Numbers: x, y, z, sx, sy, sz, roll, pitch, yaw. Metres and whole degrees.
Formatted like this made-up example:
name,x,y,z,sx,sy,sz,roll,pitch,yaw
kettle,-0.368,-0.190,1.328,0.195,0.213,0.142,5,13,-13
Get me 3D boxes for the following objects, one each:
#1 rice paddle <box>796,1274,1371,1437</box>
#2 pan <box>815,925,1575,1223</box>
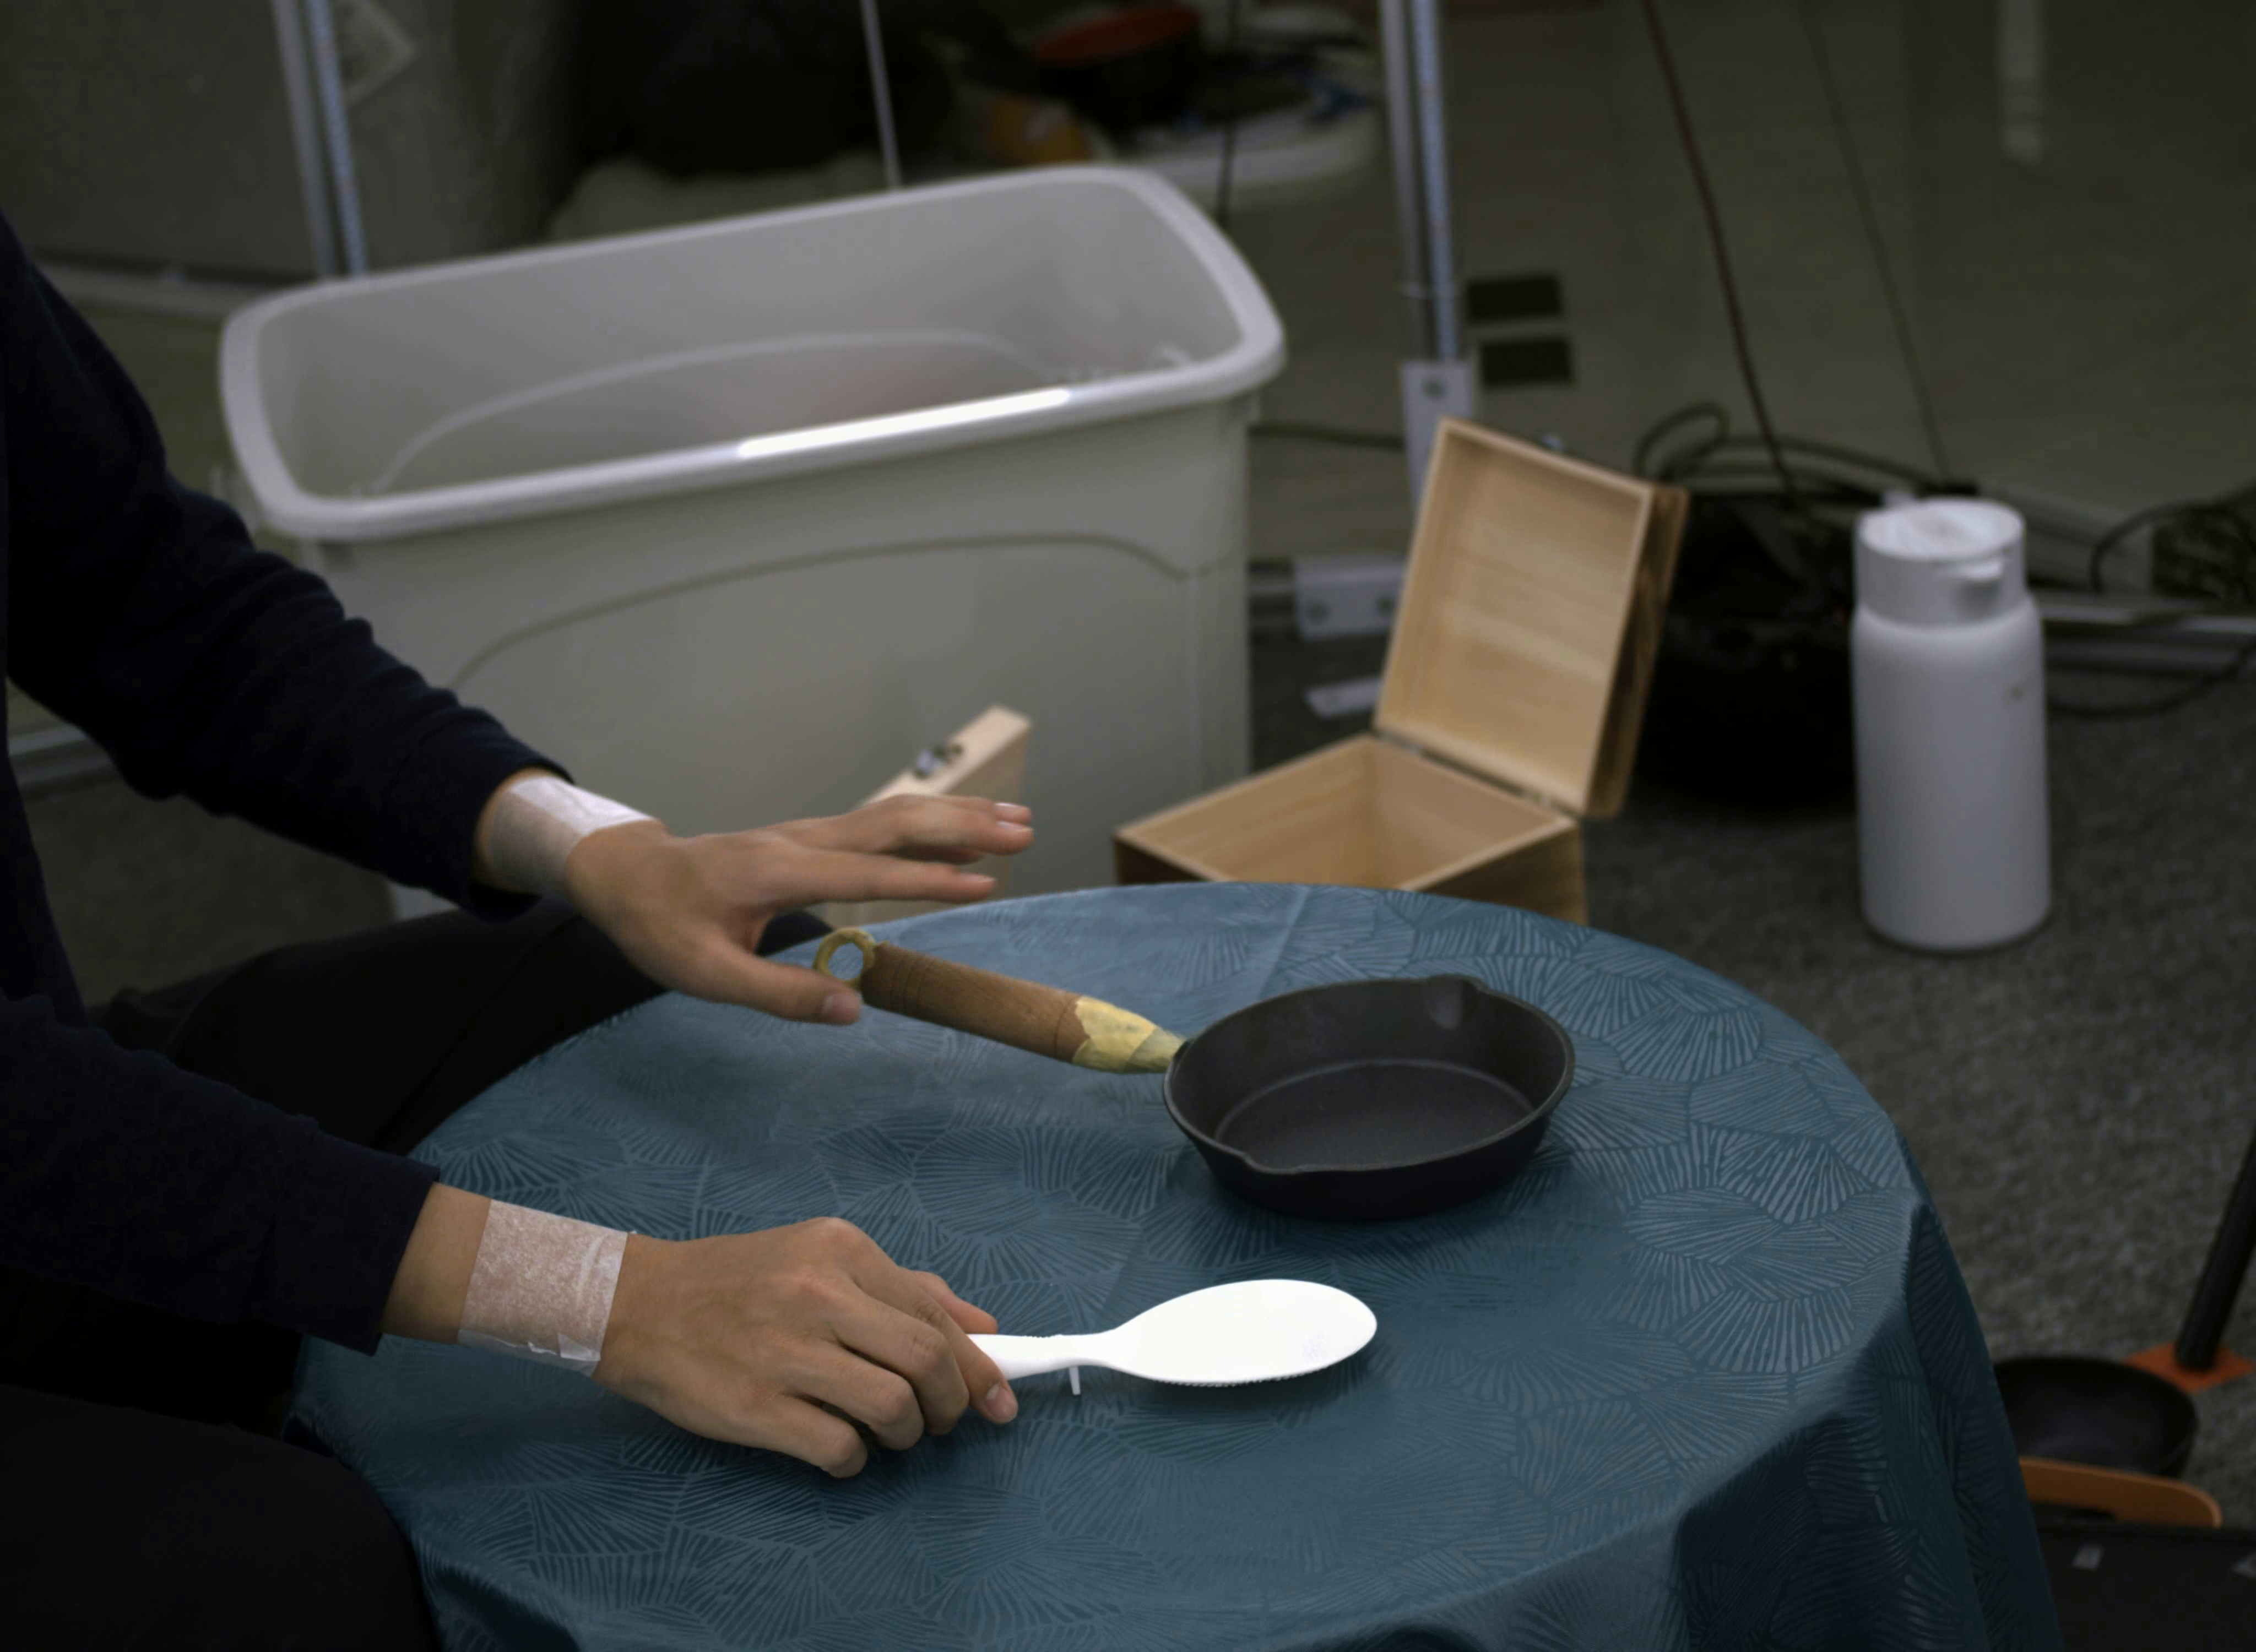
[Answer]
name,x,y,z,sx,sy,sz,roll,pitch,yaw
rice paddle,-0.015,0.186,2.015,0.205,0.030,0.068,-8,27,-3
pan,0.019,0.087,2.192,0.322,0.050,0.167,11,30,29
